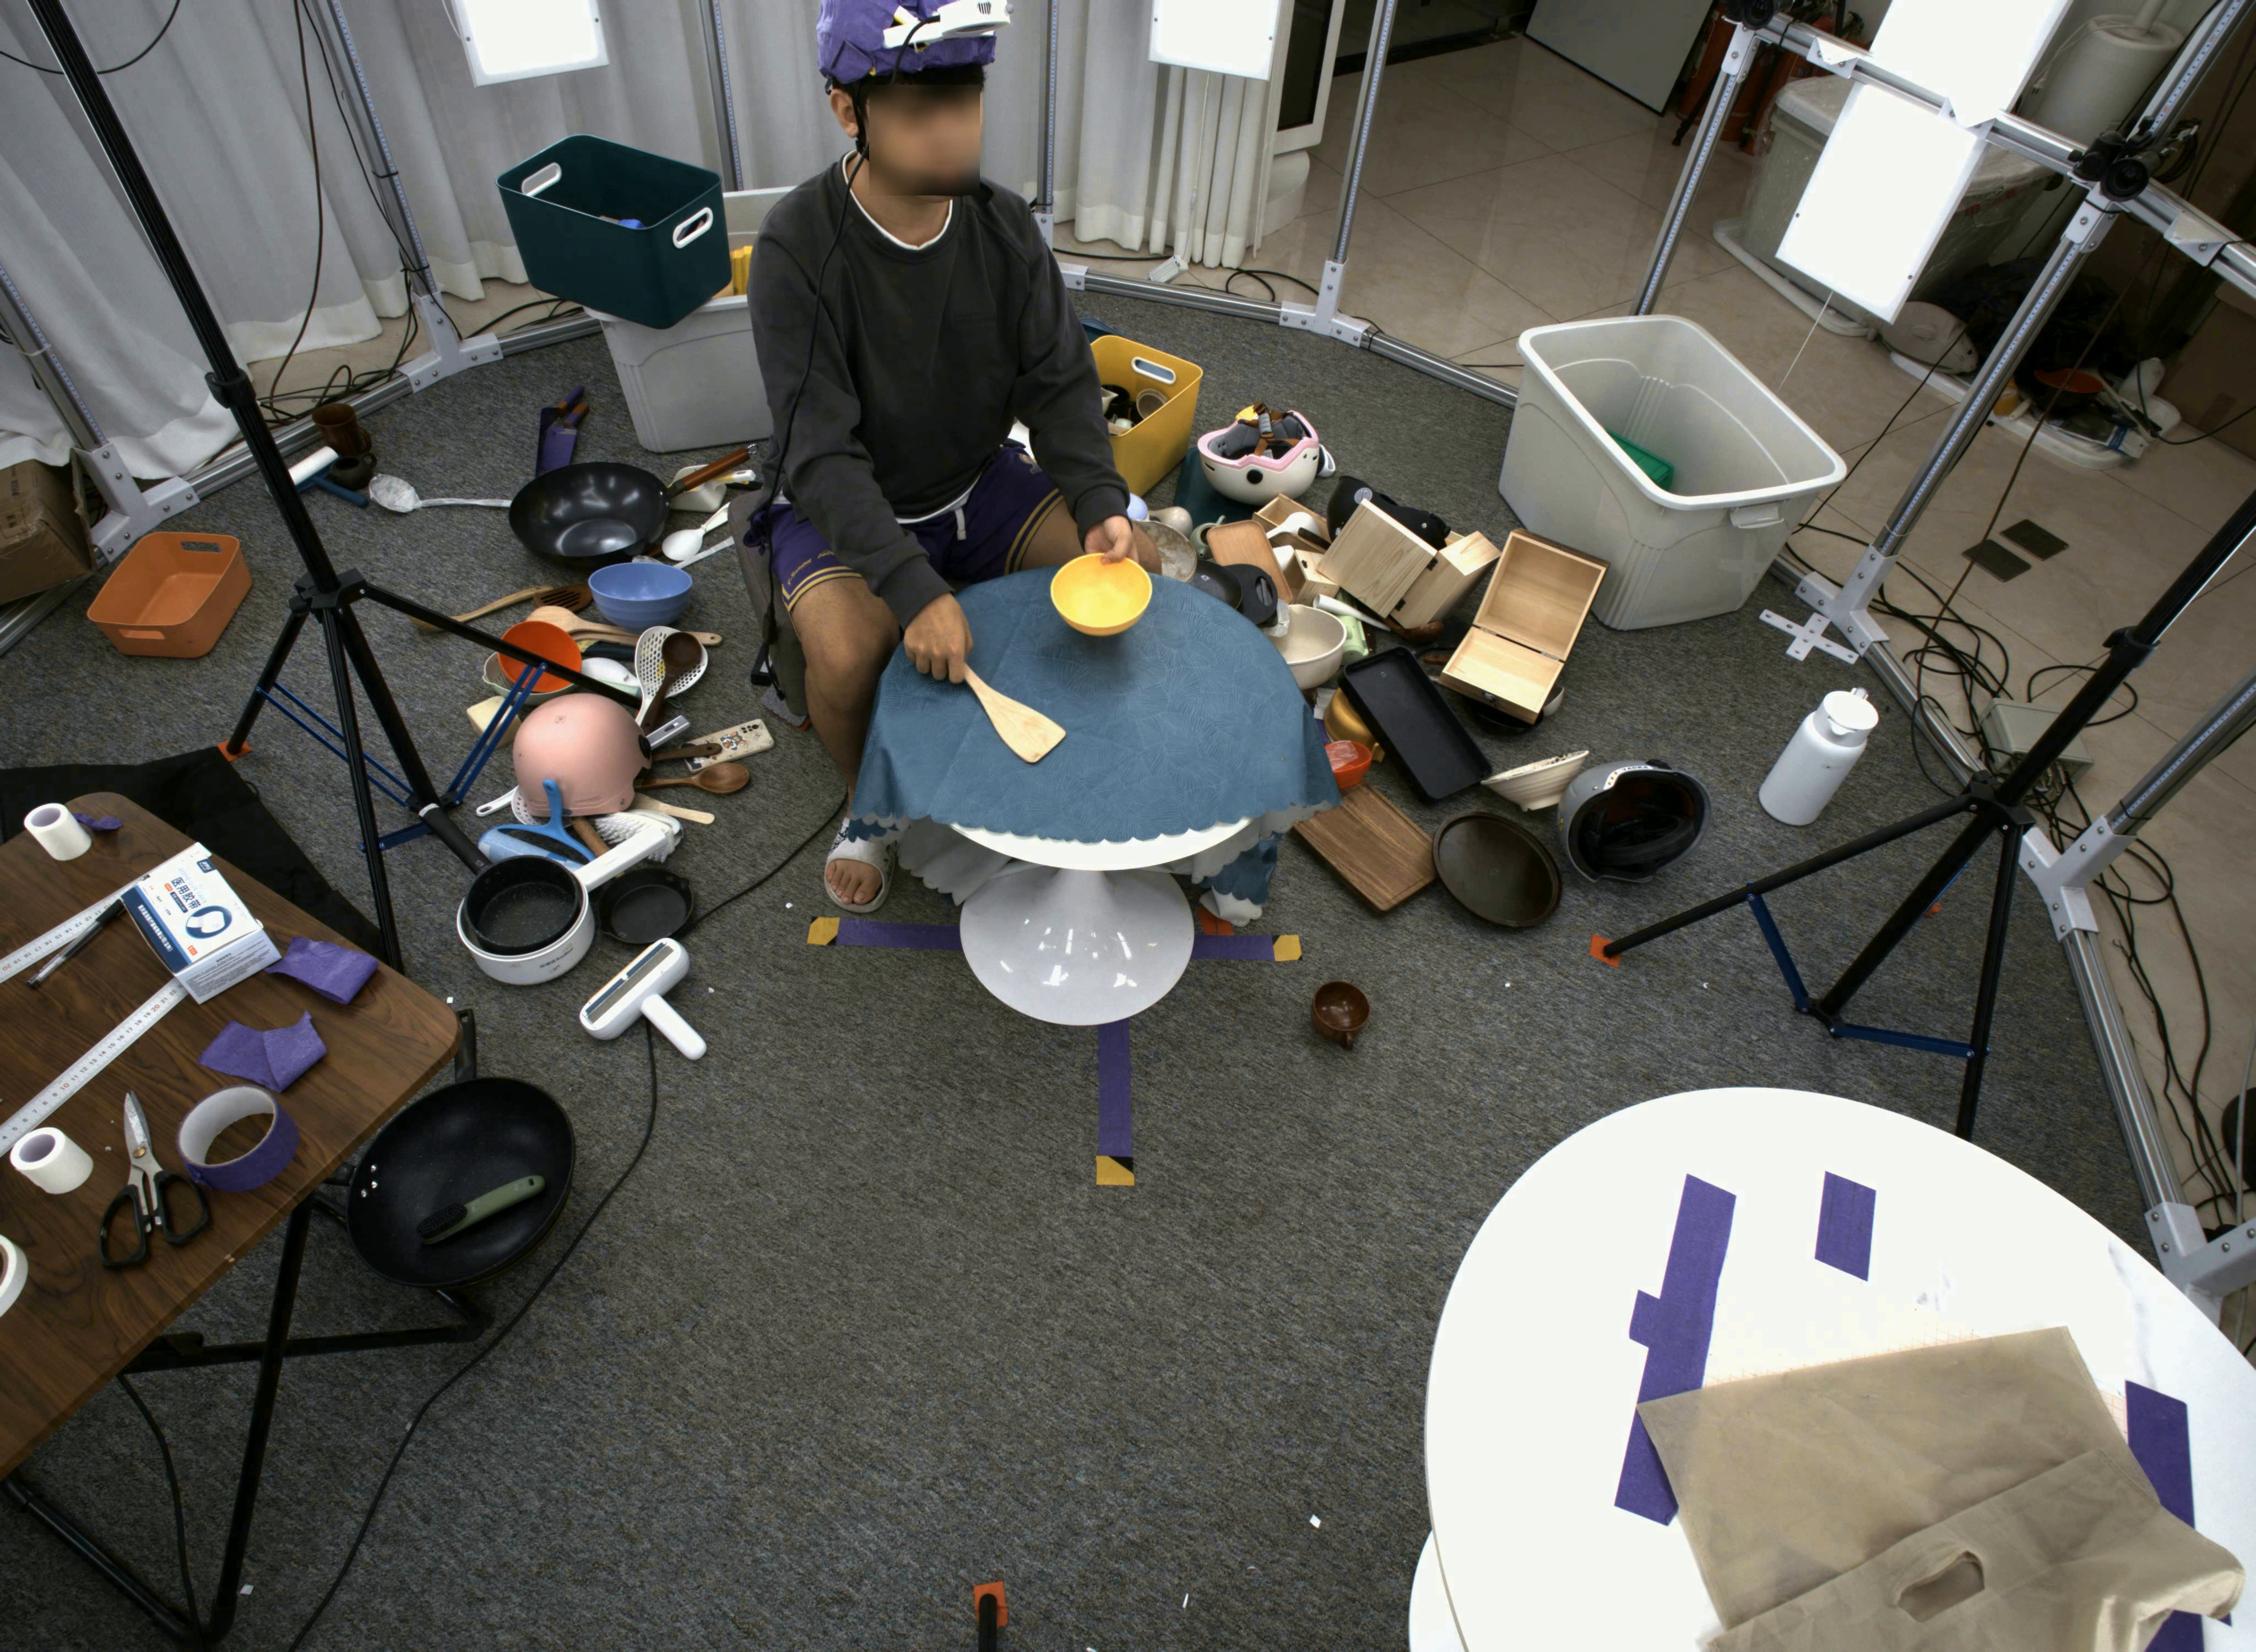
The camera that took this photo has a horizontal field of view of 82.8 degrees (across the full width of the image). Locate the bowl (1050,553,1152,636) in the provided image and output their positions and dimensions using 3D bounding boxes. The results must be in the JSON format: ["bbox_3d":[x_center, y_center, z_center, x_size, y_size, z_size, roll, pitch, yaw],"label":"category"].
[{"bbox_3d":[-0.038,-0.323,1.864,0.145,0.059,0.149,-1,55,1],"label":"bowl"}]

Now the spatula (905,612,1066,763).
[{"bbox_3d":[-0.210,-0.204,1.811,0.080,0.016,0.332,-32,63,-28],"label":"spatula"}]
